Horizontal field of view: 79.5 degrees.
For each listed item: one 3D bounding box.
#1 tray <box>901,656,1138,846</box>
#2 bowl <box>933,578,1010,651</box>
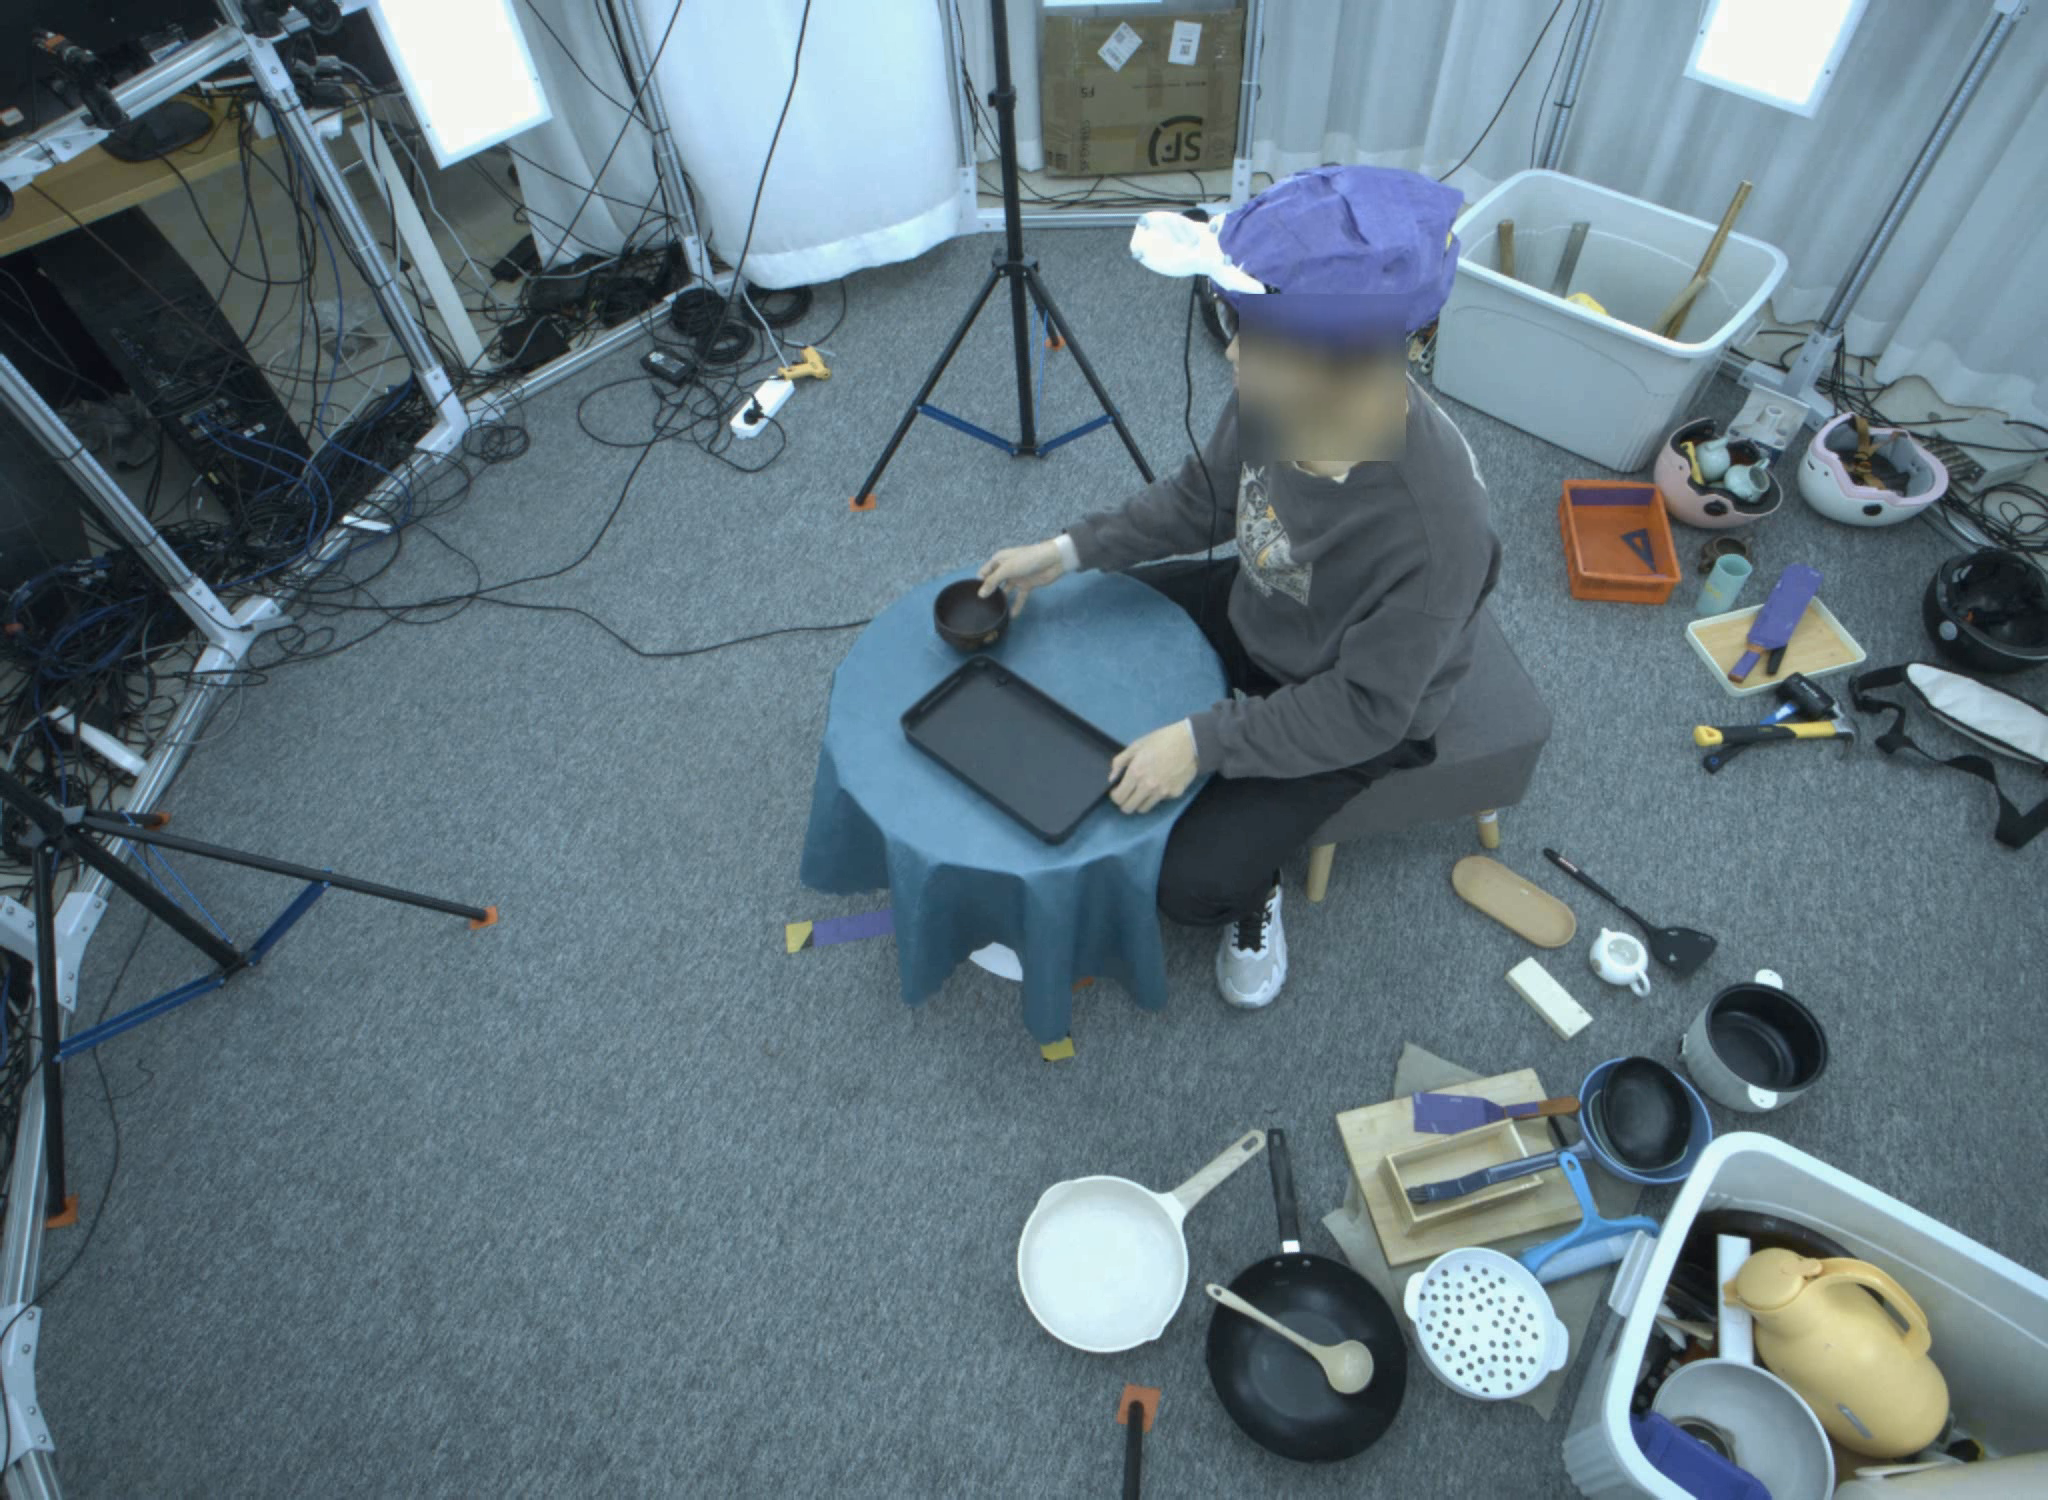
[{"bbox_3d":[-0.008,-0.003,1.765,0.312,0.037,0.185,33,61,24],"label":"tray"},{"bbox_3d":[-0.080,-0.200,1.887,0.118,0.070,0.117,0,55,1],"label":"bowl"}]
